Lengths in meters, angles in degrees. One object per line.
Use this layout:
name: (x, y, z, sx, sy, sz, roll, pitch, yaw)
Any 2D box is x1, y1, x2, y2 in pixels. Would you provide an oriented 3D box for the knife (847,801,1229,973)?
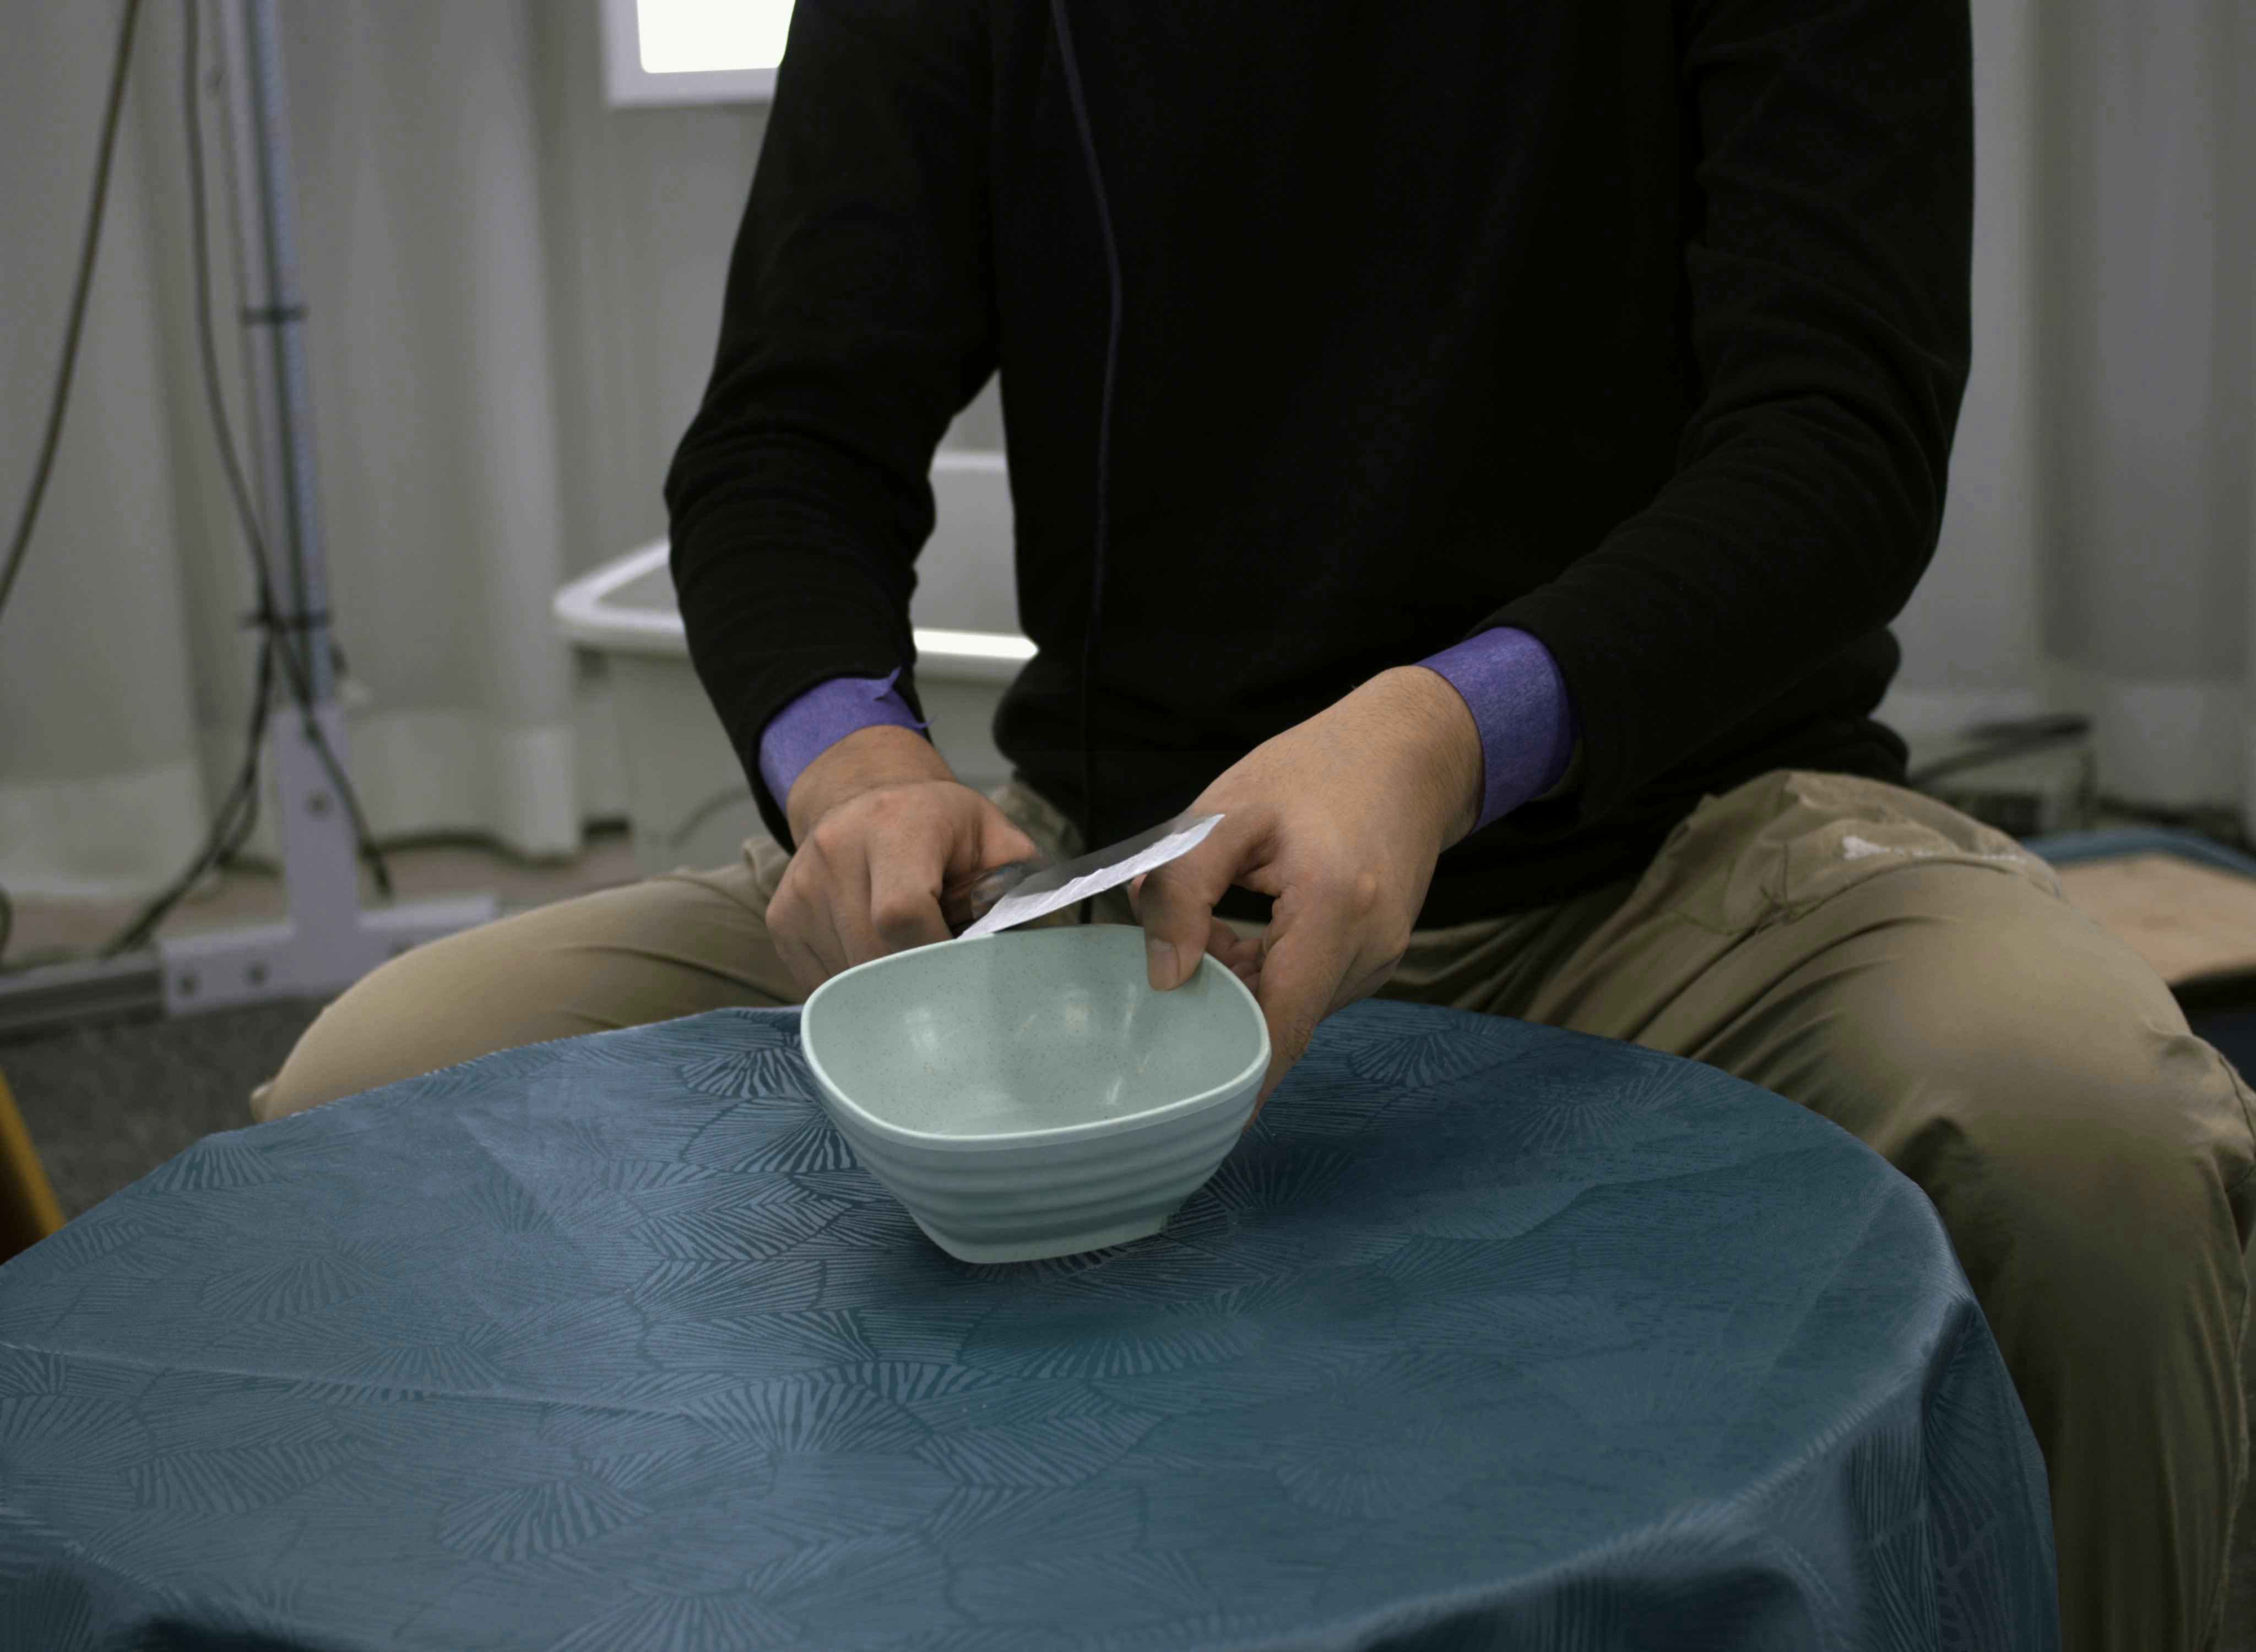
knife: (-0.031, 0.022, 1.746, 0.050, 0.020, 0.289, -39, 8, -23)

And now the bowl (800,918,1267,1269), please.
bowl: (-0.028, 0.087, 1.673, 0.151, 0.058, 0.153, -2, 26, 1)
